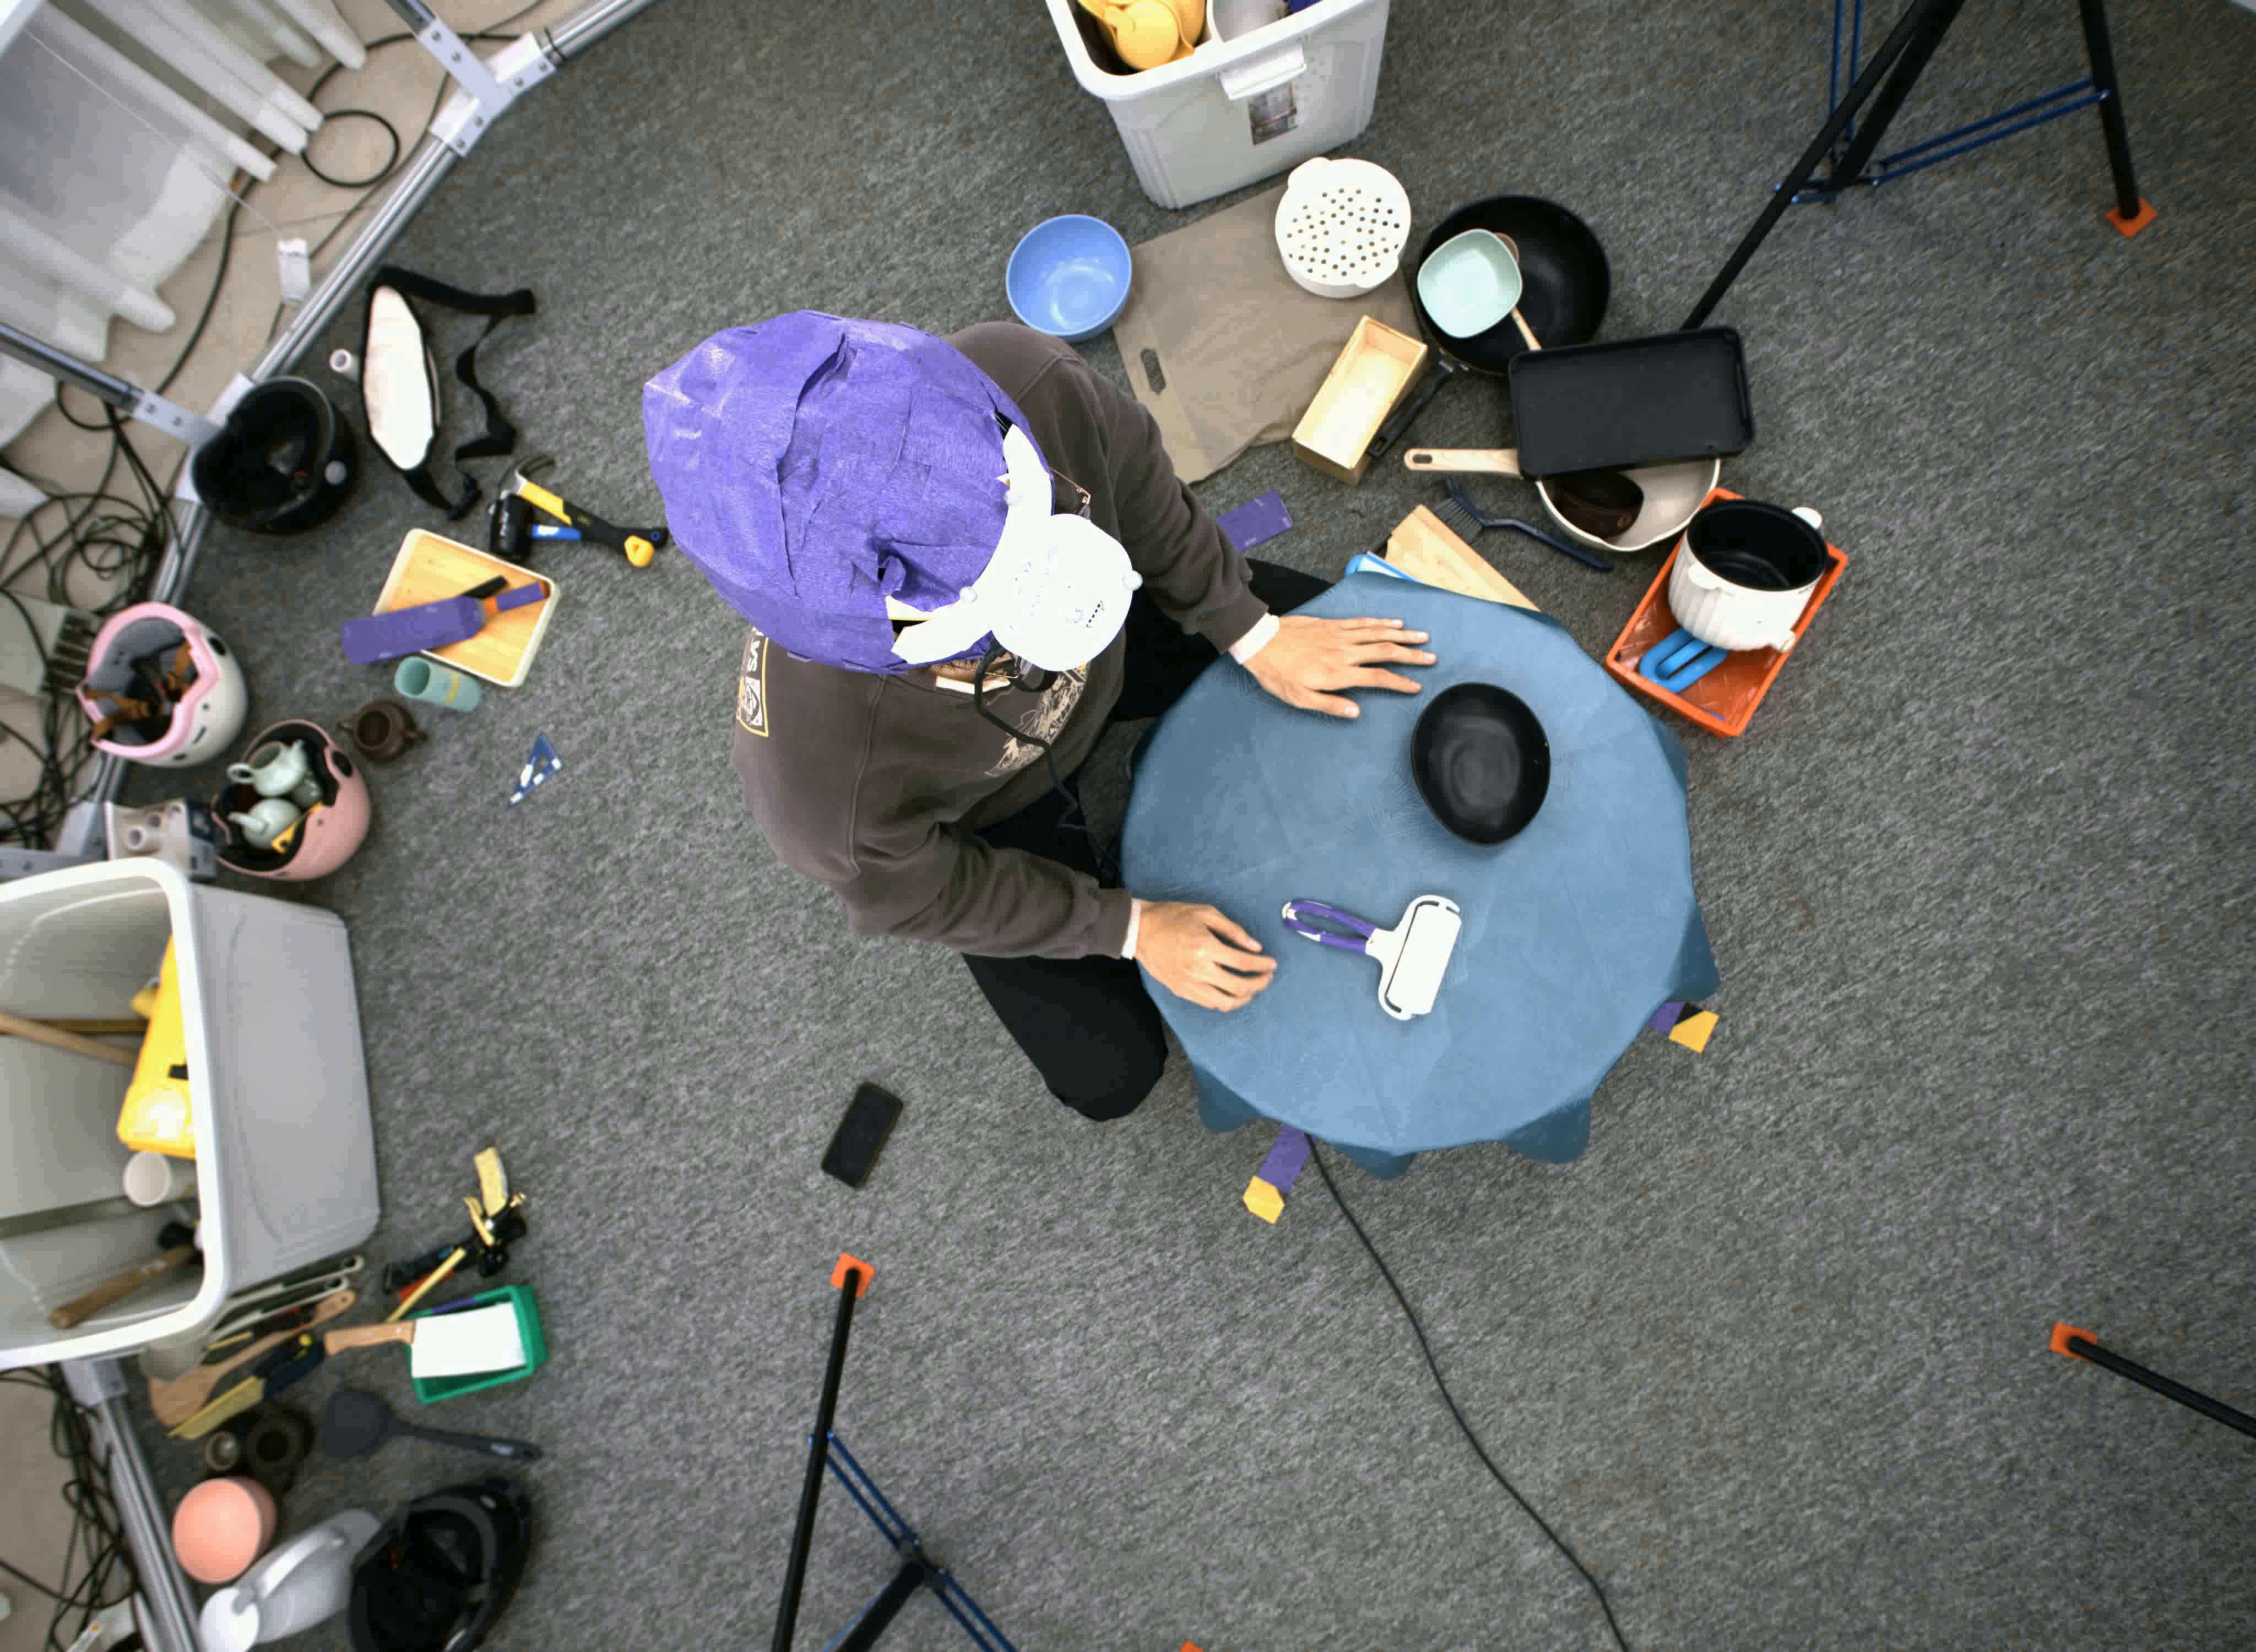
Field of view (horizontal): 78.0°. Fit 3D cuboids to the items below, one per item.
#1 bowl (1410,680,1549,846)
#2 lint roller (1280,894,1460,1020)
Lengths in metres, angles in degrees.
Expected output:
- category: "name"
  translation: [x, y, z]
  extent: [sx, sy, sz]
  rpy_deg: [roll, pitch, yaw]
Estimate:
- category: "bowl"
  translation: [0.361, -0.065, 1.415]
  extent: [0.138, 0.066, 0.169]
  rpy_deg: [-12, 86, 11]
- category: "lint roller"
  translation: [0.245, 0.112, 1.436]
  extent: [0.181, 0.050, 0.133]
  rpy_deg: [21, 91, 8]
